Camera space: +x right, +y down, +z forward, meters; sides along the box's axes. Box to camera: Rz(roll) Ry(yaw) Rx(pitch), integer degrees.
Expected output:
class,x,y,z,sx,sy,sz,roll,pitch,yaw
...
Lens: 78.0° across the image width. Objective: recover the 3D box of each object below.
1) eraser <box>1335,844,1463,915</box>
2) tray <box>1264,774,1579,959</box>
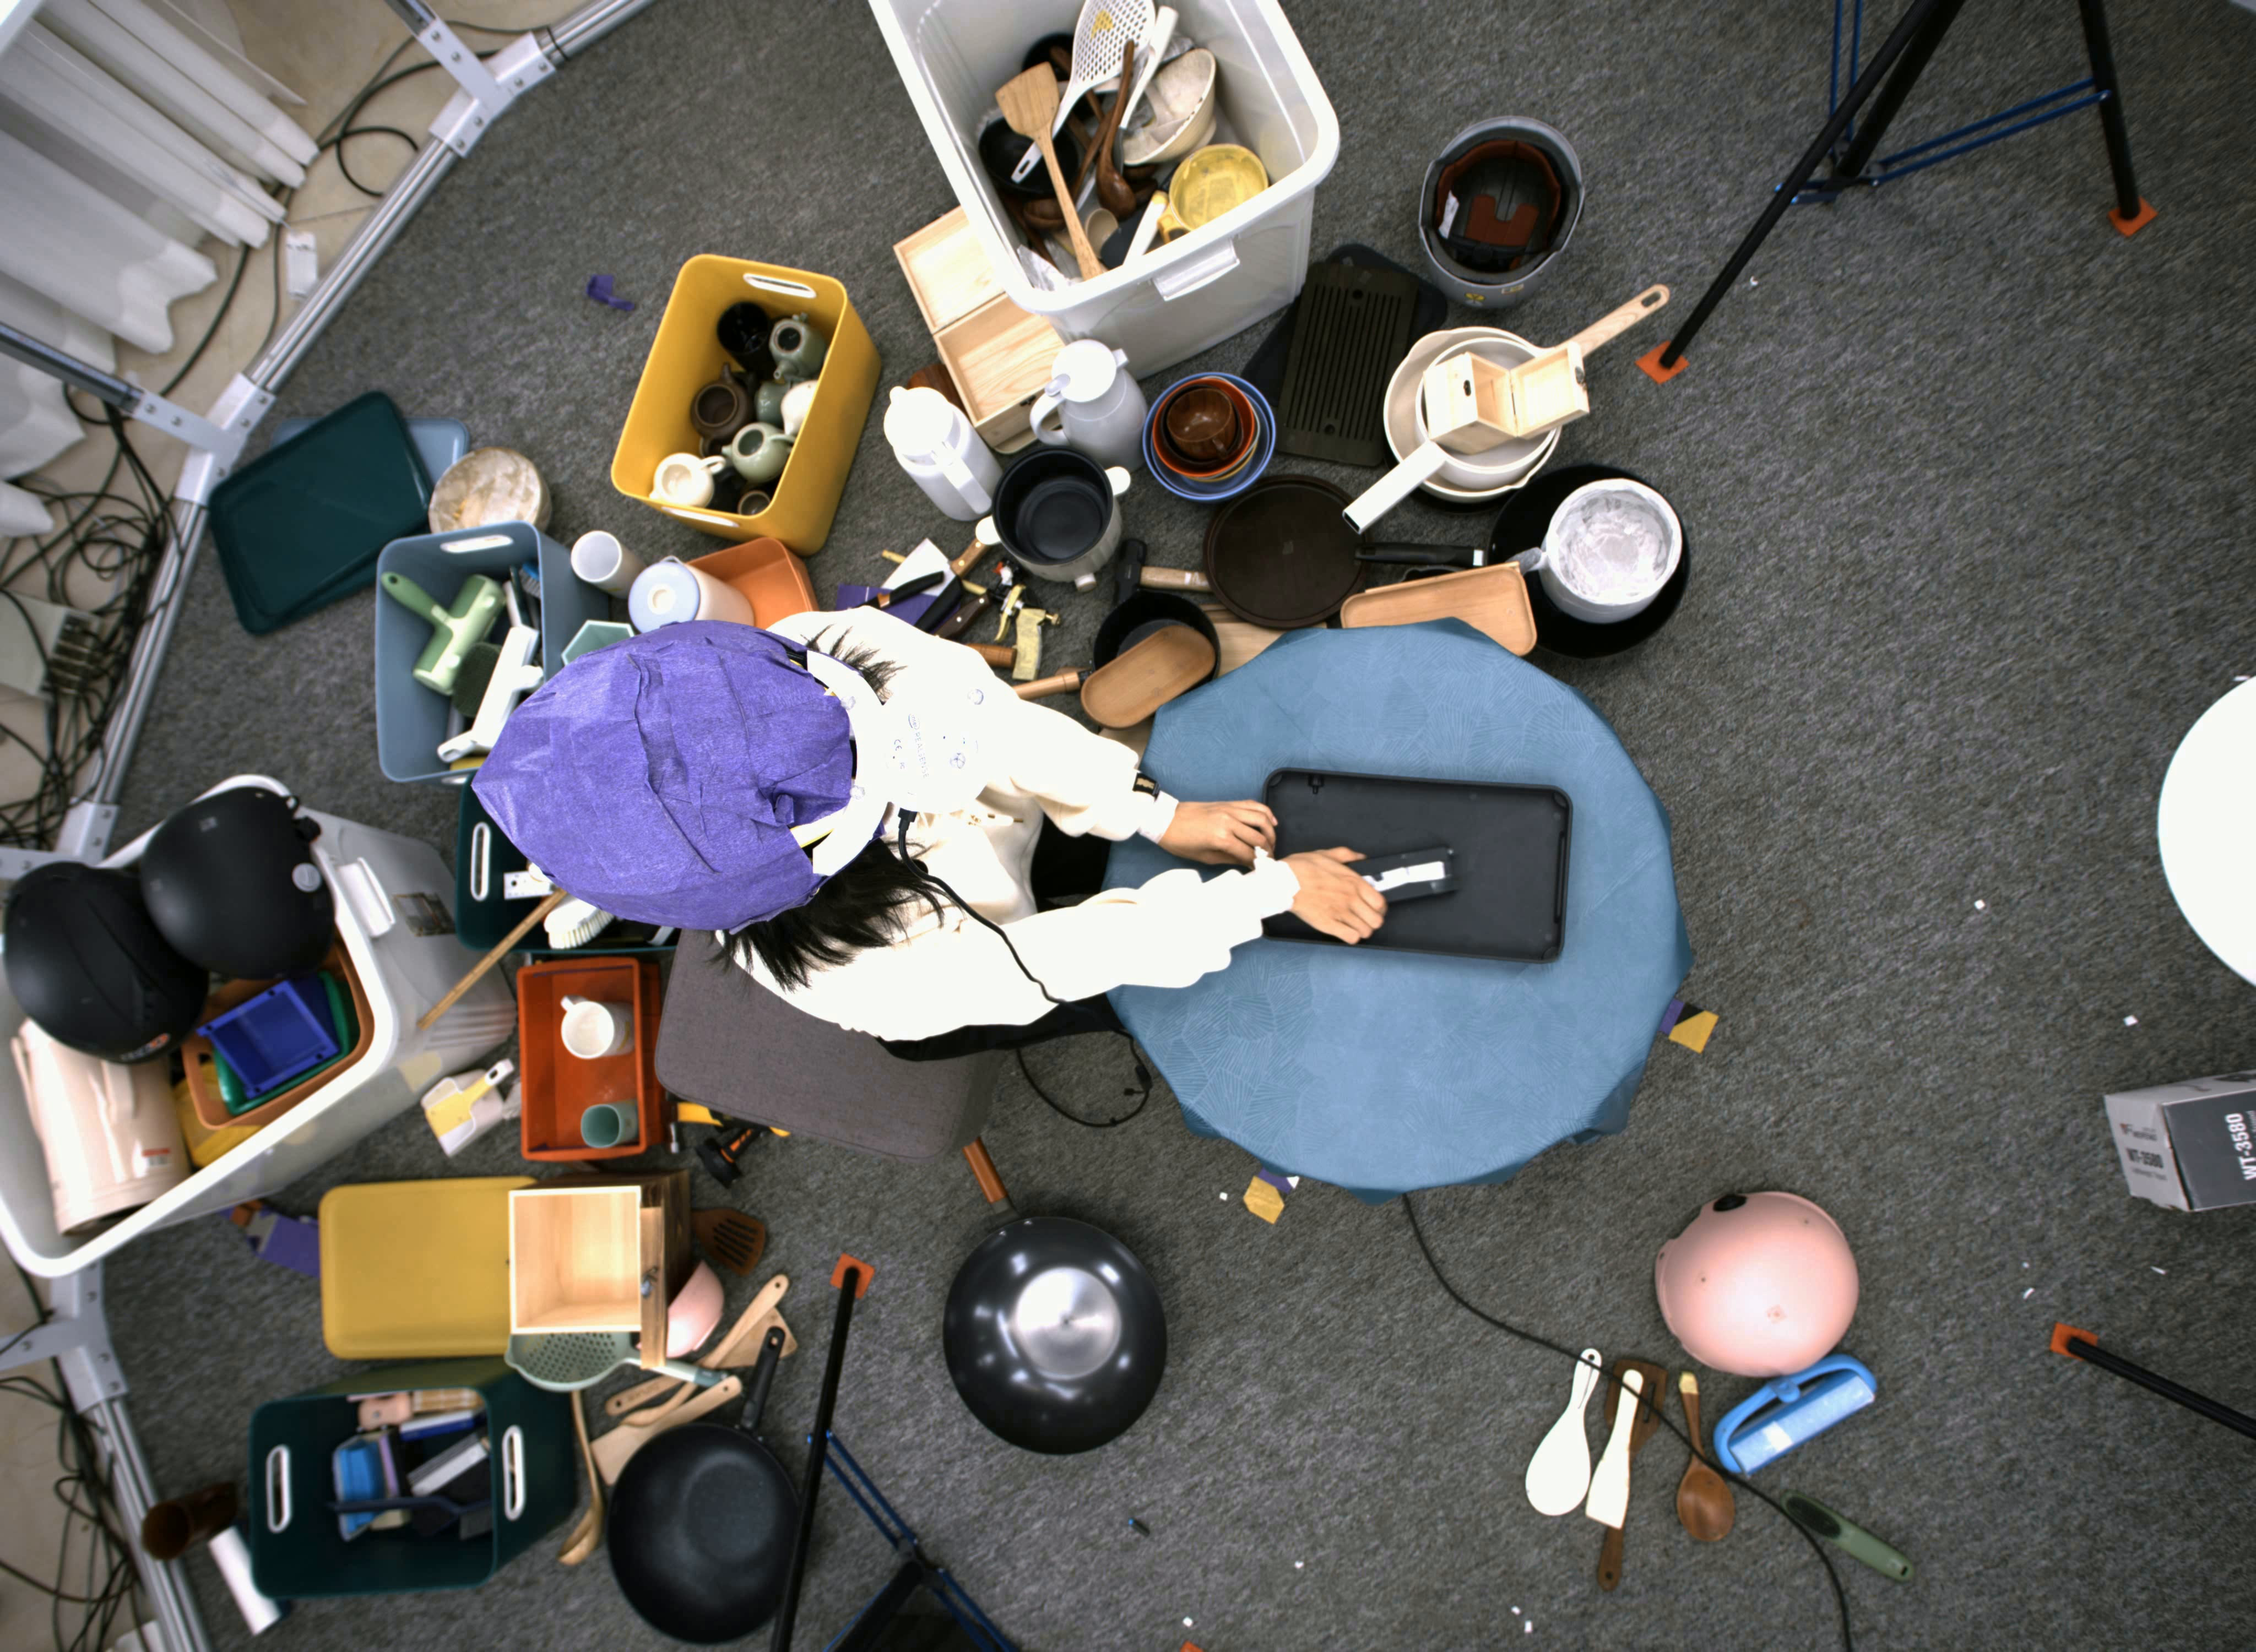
class,x,y,z,sx,sy,sz,roll,pitch,yaw
eraser,0.282,0.055,1.441,0.126,0.030,0.053,-11,80,10
tray,0.304,0.040,1.437,0.319,0.037,0.183,1,87,10
